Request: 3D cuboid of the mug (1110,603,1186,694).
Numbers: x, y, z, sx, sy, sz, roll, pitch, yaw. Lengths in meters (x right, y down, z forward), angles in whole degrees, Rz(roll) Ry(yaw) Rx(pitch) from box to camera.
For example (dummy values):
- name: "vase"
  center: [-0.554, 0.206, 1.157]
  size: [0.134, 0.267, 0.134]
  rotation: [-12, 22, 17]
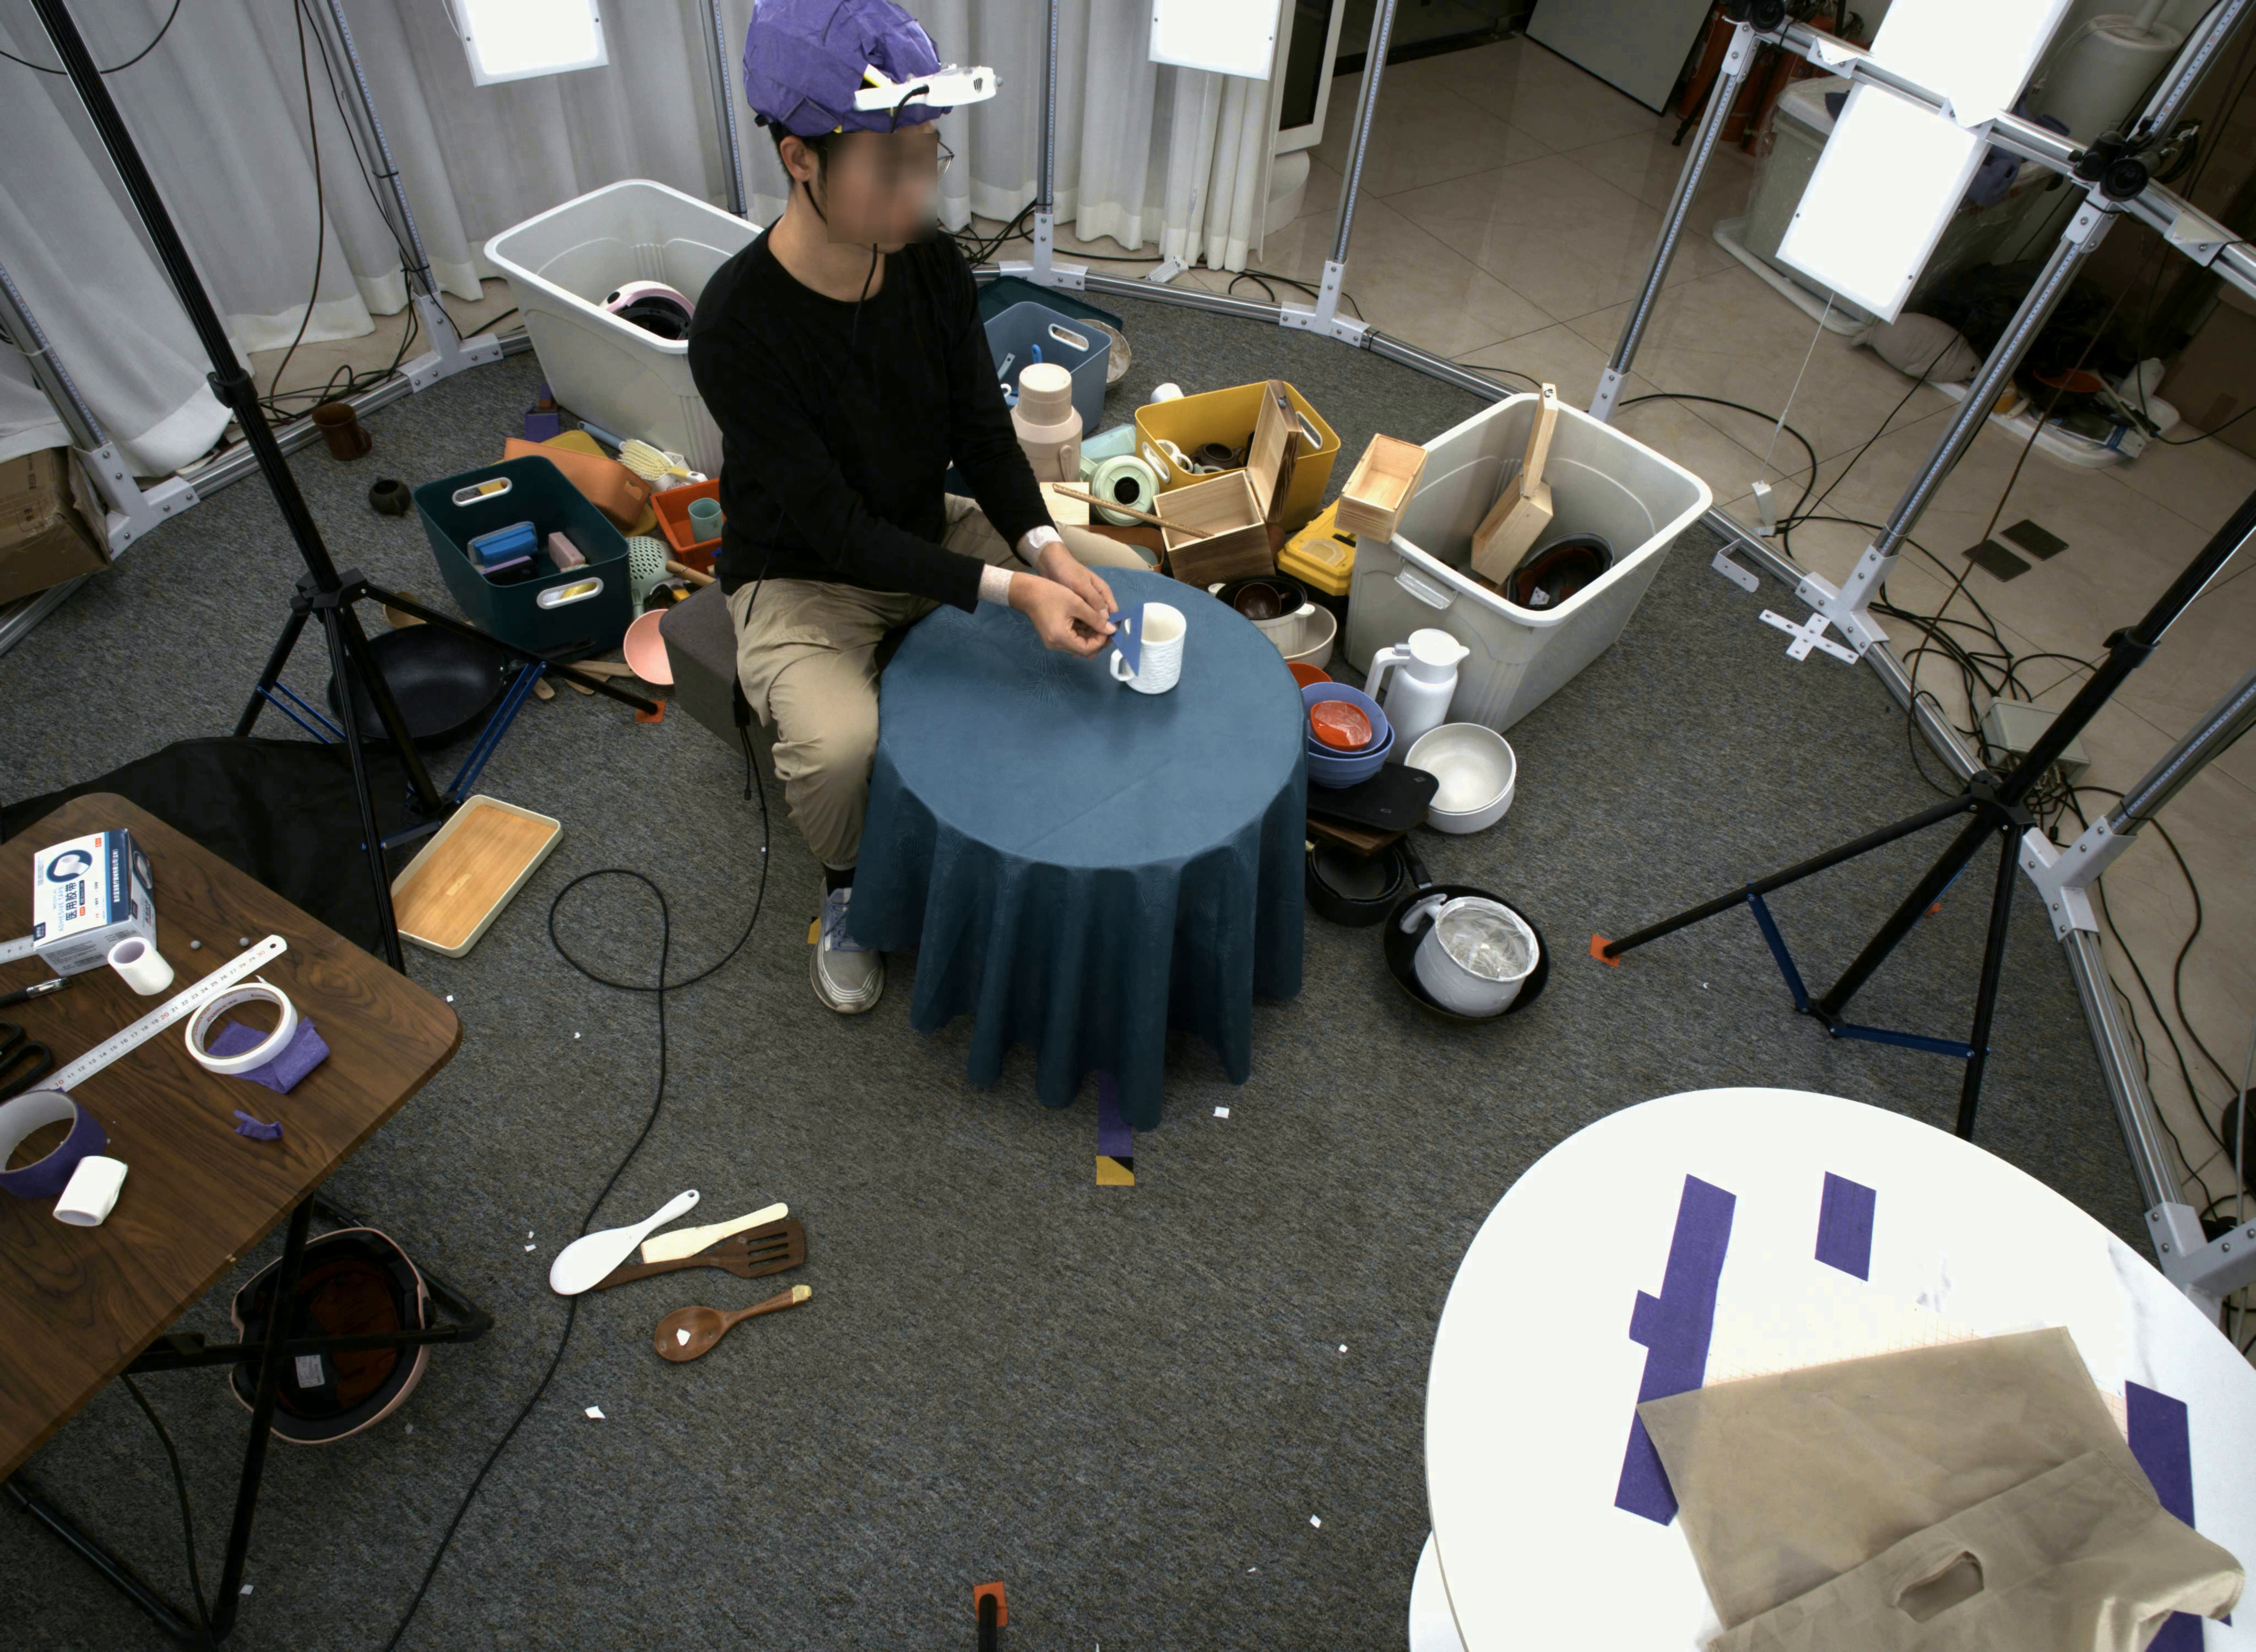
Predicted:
- name: "mug"
  center: [0.023, -0.243, 1.816]
  size: [0.119, 0.099, 0.086]
  rotation: [-31, 58, -27]

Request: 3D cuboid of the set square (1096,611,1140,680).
- name: "set square"
  center: [-0.019, -0.252, 1.756]
  size: [0.061, 0.006, 0.135]
  rotation: [8, 53, 3]
